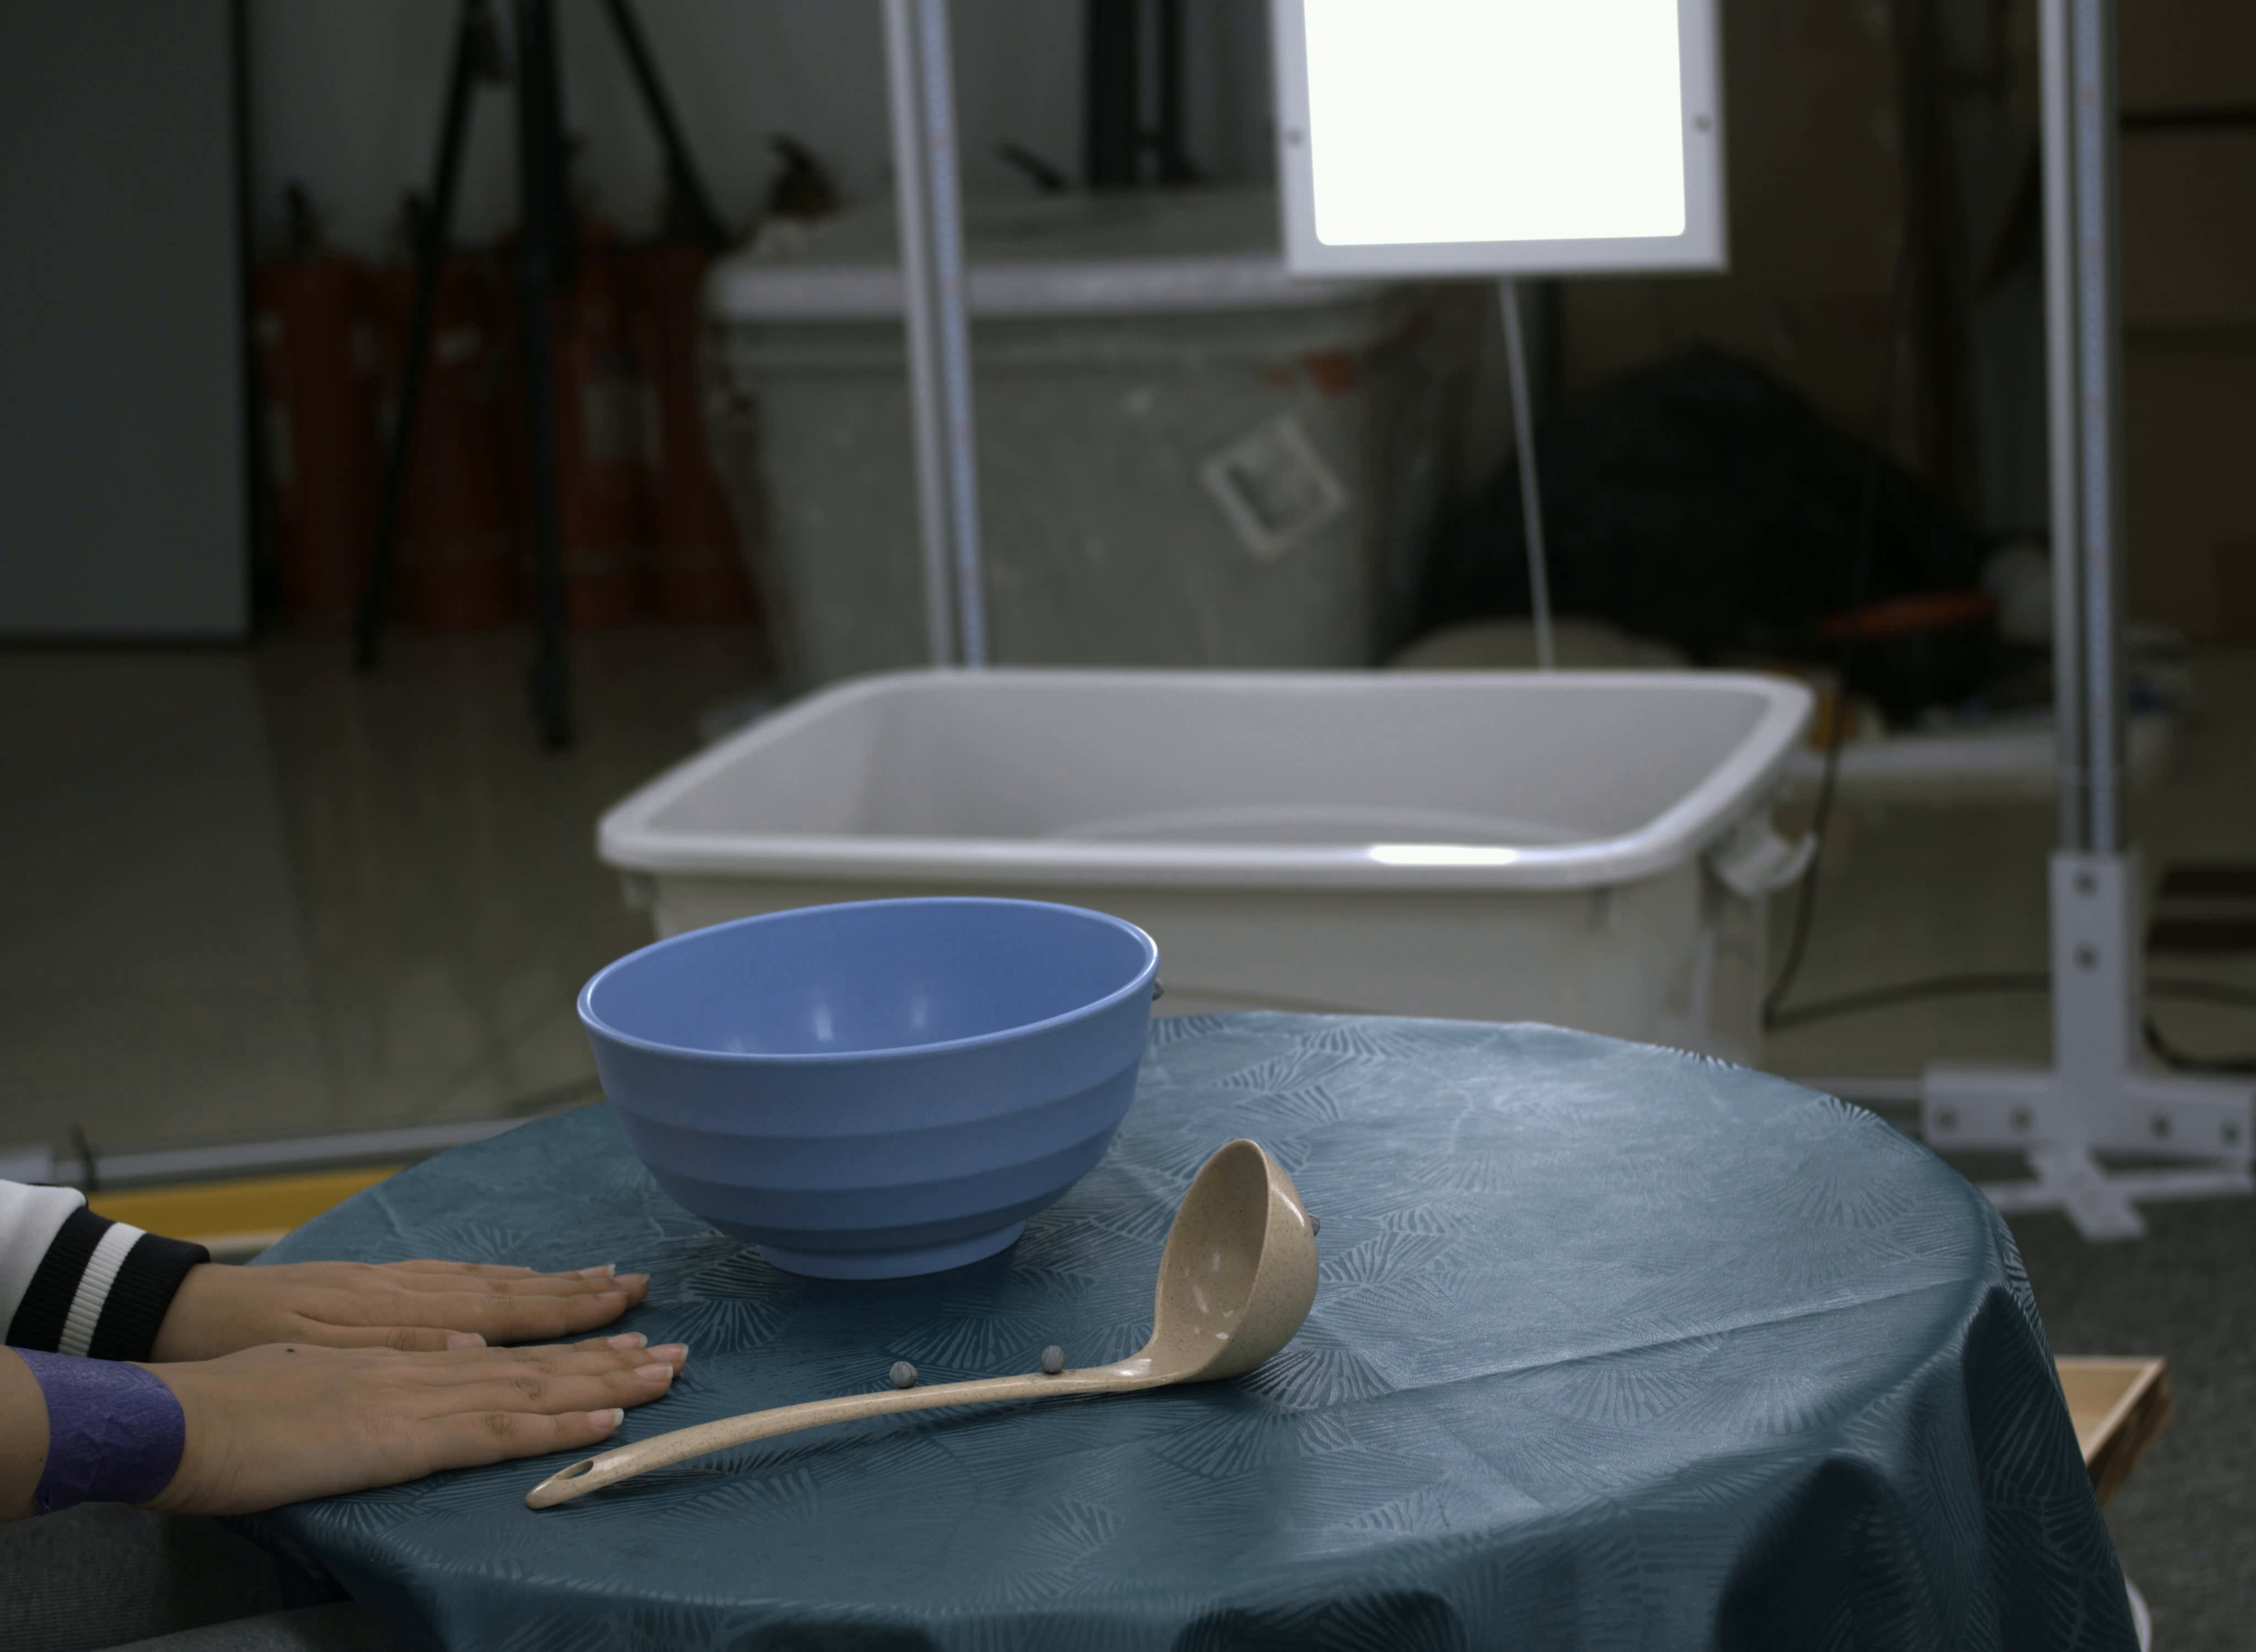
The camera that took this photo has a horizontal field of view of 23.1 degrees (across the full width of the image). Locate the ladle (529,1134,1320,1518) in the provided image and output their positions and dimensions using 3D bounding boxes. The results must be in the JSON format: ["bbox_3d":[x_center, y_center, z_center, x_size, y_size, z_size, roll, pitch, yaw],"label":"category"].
[{"bbox_3d":[-0.063,0.149,1.675,0.250,0.073,0.073,-10,13,-18],"label":"ladle"}]

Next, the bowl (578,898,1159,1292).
[{"bbox_3d":[-0.084,0.097,1.863,0.196,0.096,0.196,-5,15,0],"label":"bowl"}]
